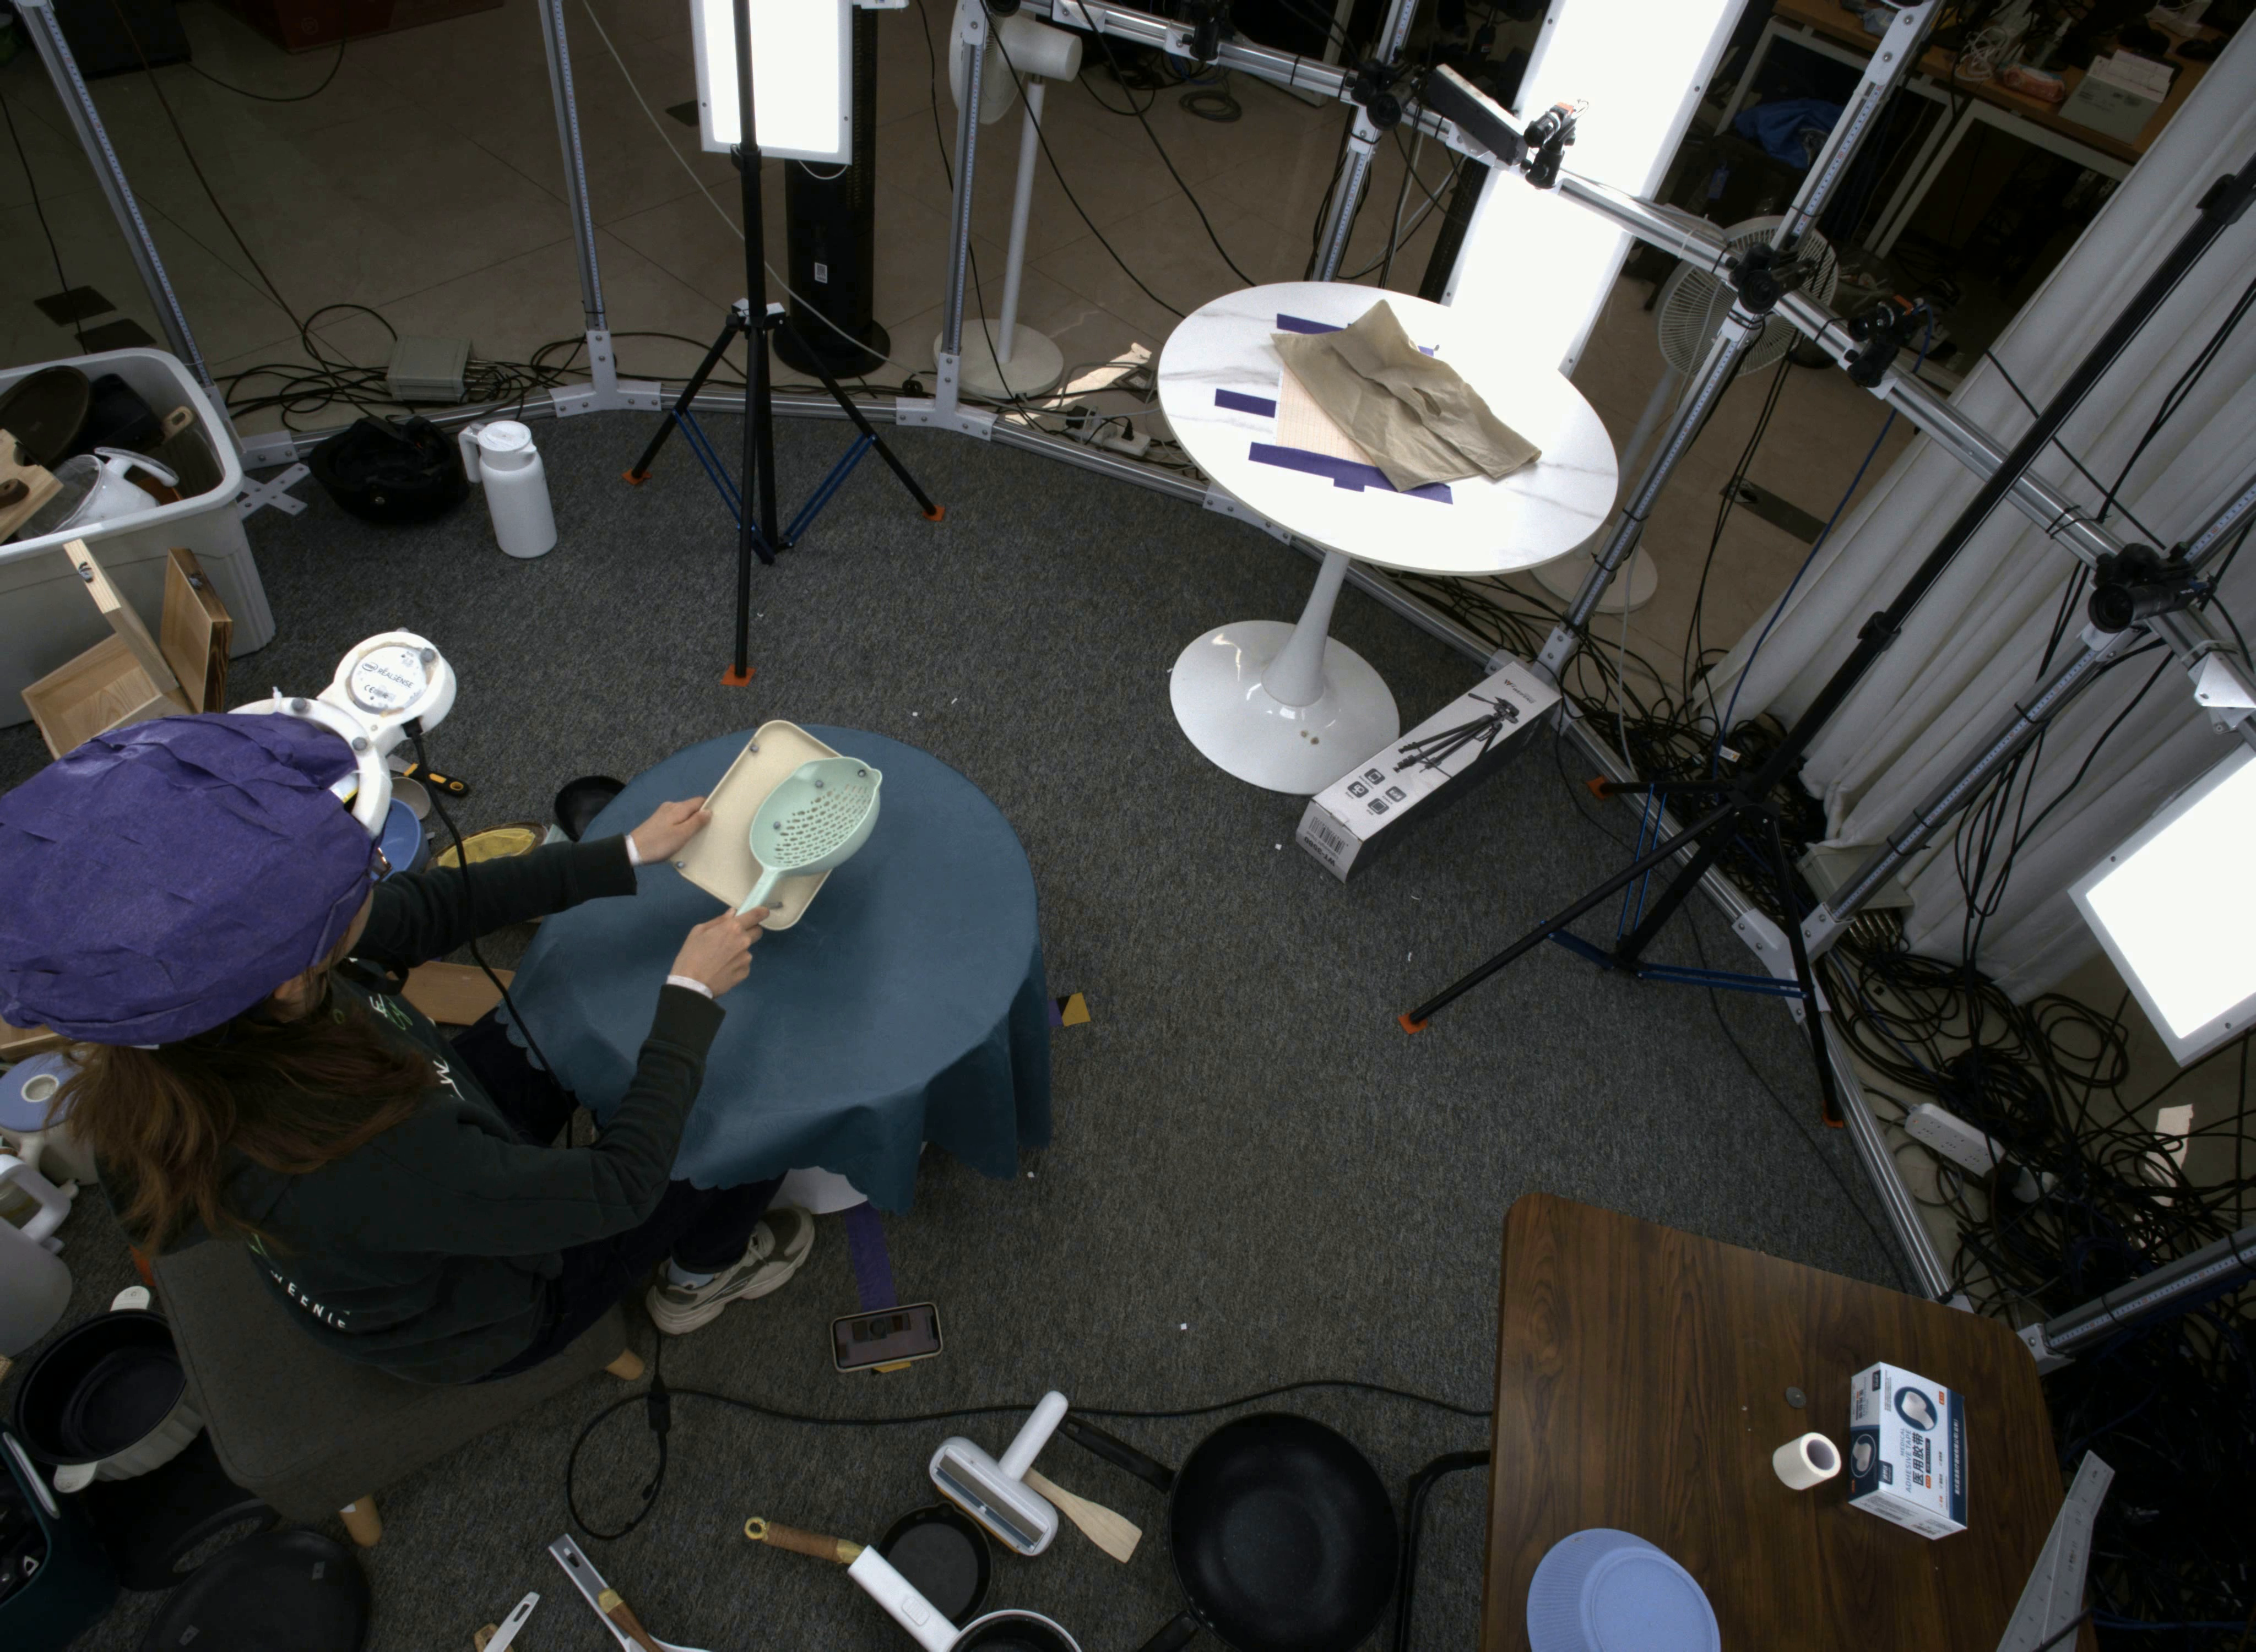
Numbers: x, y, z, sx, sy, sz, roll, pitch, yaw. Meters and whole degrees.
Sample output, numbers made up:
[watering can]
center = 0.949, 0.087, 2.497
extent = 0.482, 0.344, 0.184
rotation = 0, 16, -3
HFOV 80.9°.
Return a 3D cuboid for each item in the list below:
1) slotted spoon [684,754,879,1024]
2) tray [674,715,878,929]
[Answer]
[slotted spoon]
center = -0.410, 0.063, 1.487
extent = 0.163, 0.078, 0.357
rotation = 9, 49, 33
[tray]
center = -0.424, -0.007, 1.571
extent = 0.173, 0.017, 0.239
rotation = 34, 64, -12
